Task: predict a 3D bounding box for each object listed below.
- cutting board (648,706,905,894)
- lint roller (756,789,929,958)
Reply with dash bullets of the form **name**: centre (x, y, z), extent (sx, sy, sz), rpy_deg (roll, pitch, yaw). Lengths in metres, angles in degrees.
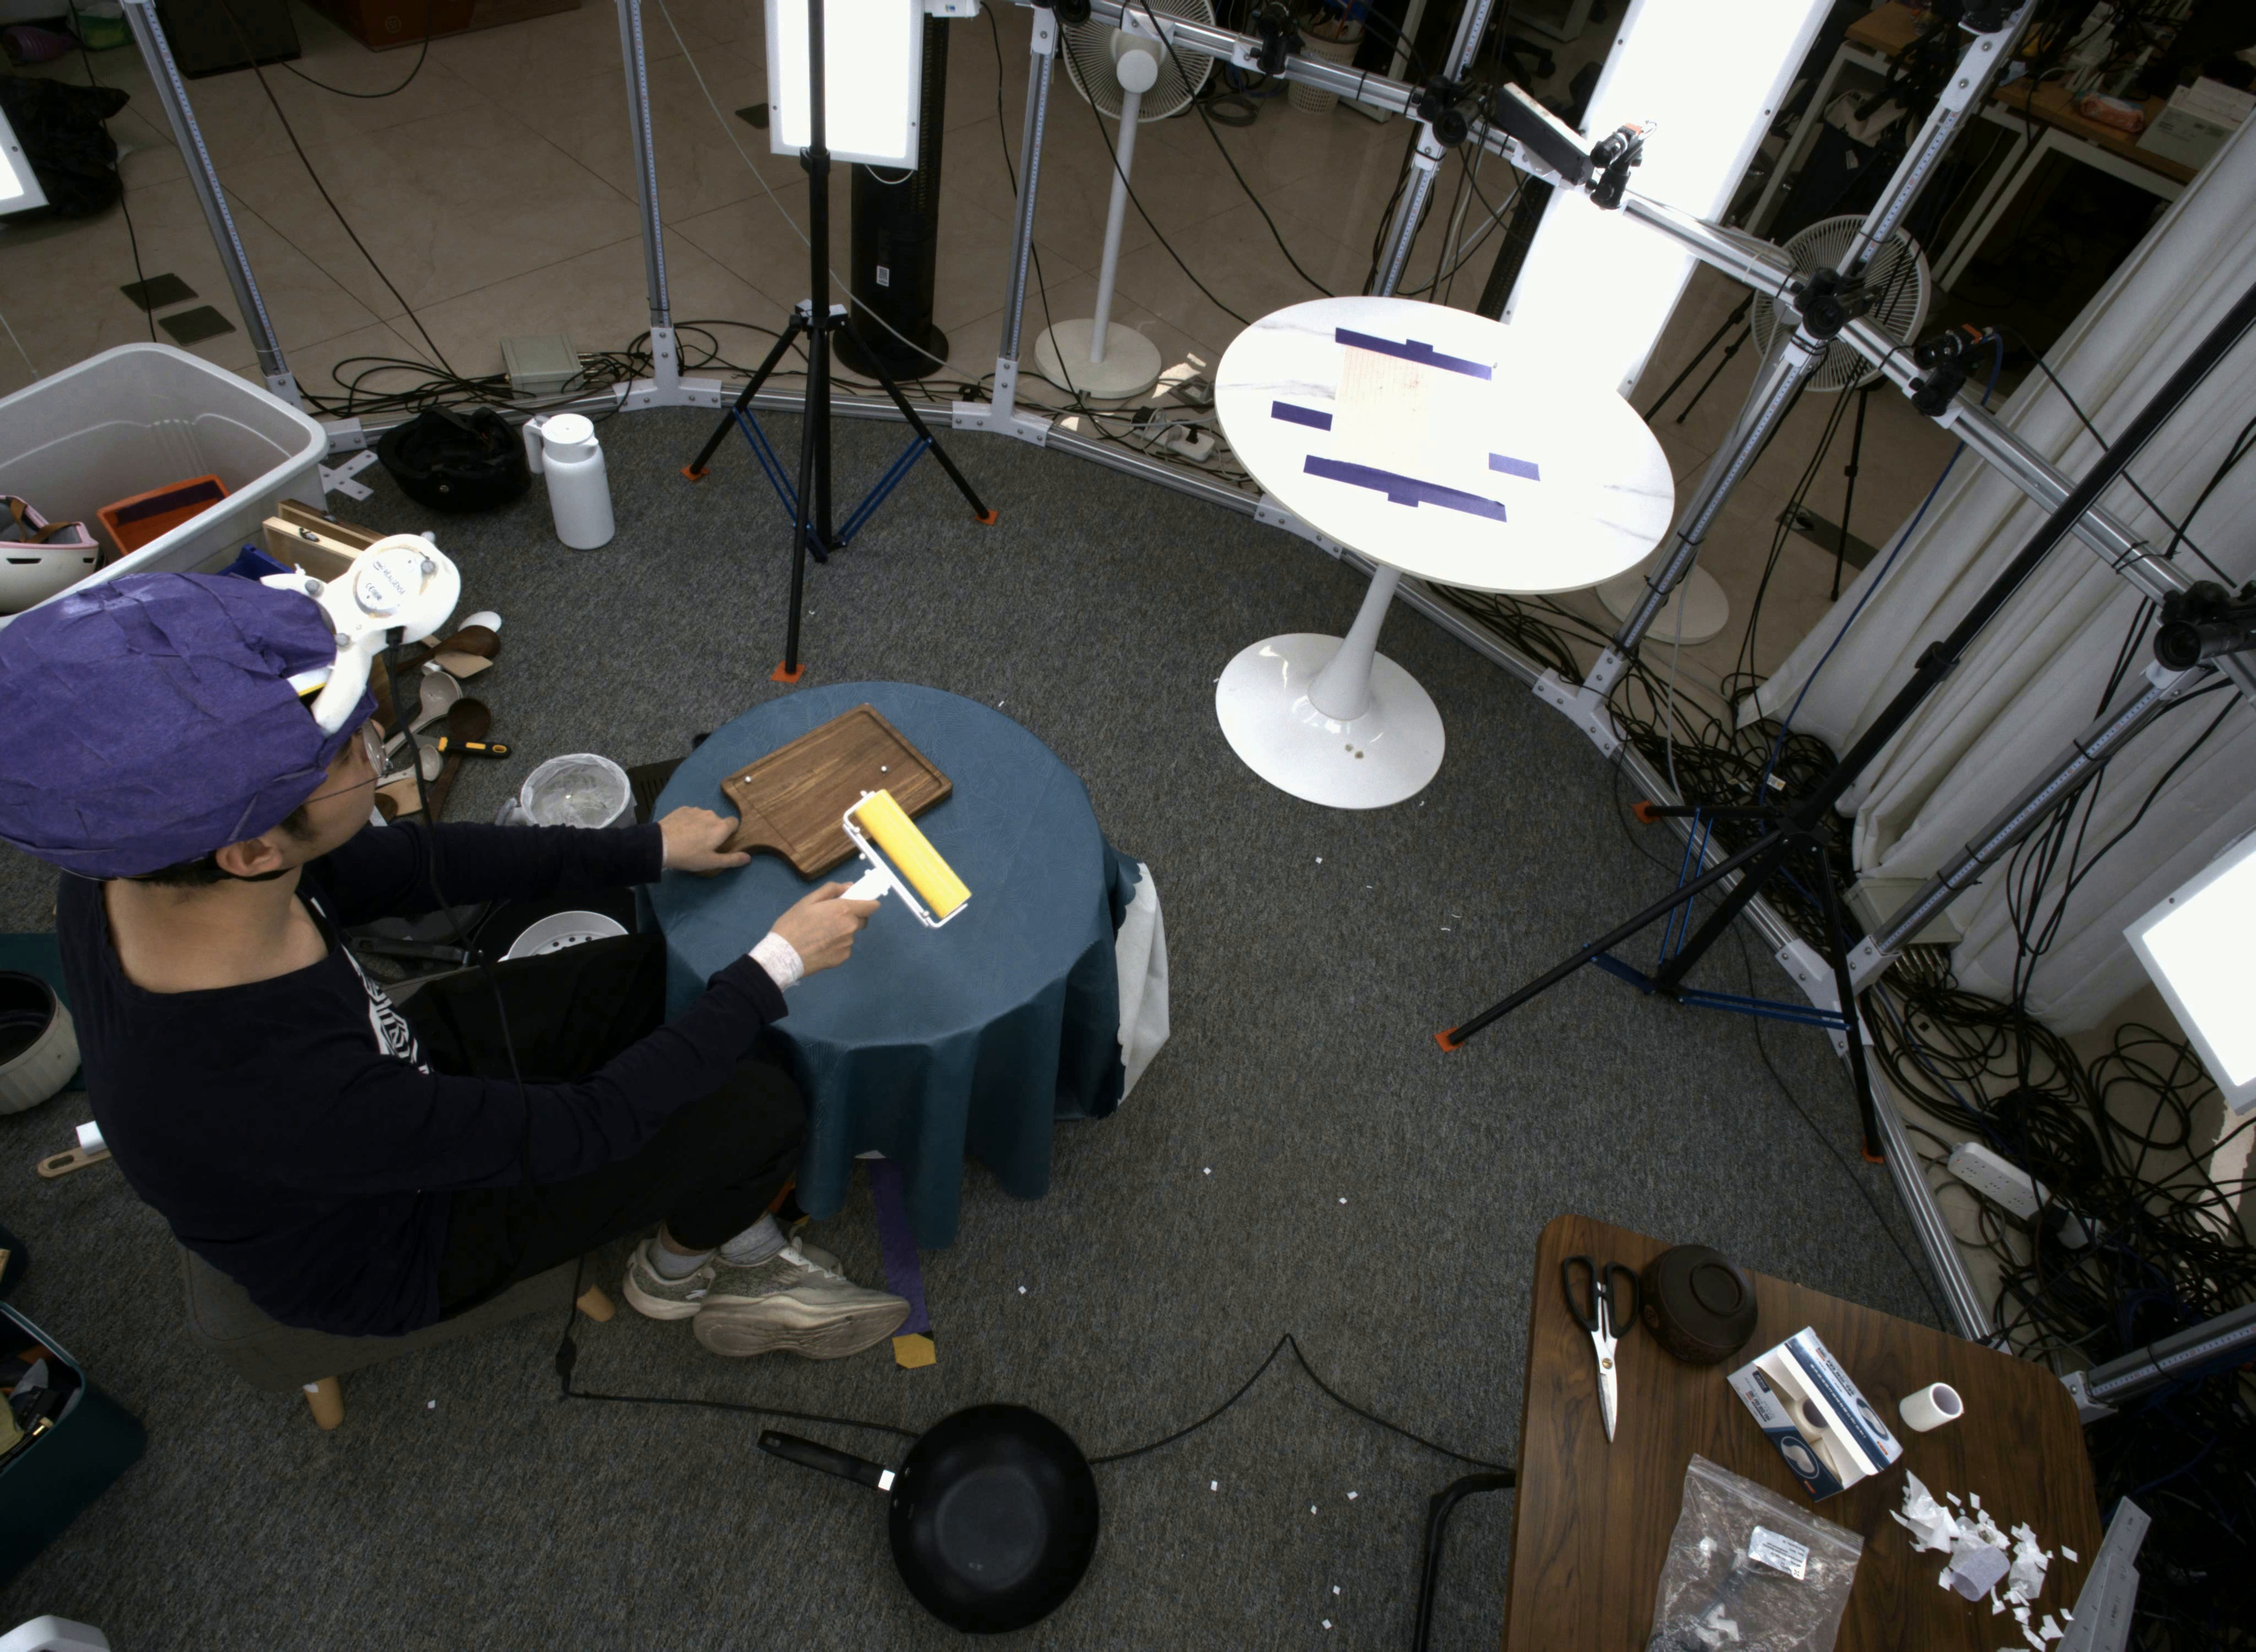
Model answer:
- **cutting board**: centre (-0.488, -0.020, 1.719), extent (0.197, 0.023, 0.352), rpy_deg (40, 55, 16)
- **lint roller**: centre (-0.347, 0.075, 1.474), extent (0.175, 0.051, 0.192), rpy_deg (47, 56, -4)
